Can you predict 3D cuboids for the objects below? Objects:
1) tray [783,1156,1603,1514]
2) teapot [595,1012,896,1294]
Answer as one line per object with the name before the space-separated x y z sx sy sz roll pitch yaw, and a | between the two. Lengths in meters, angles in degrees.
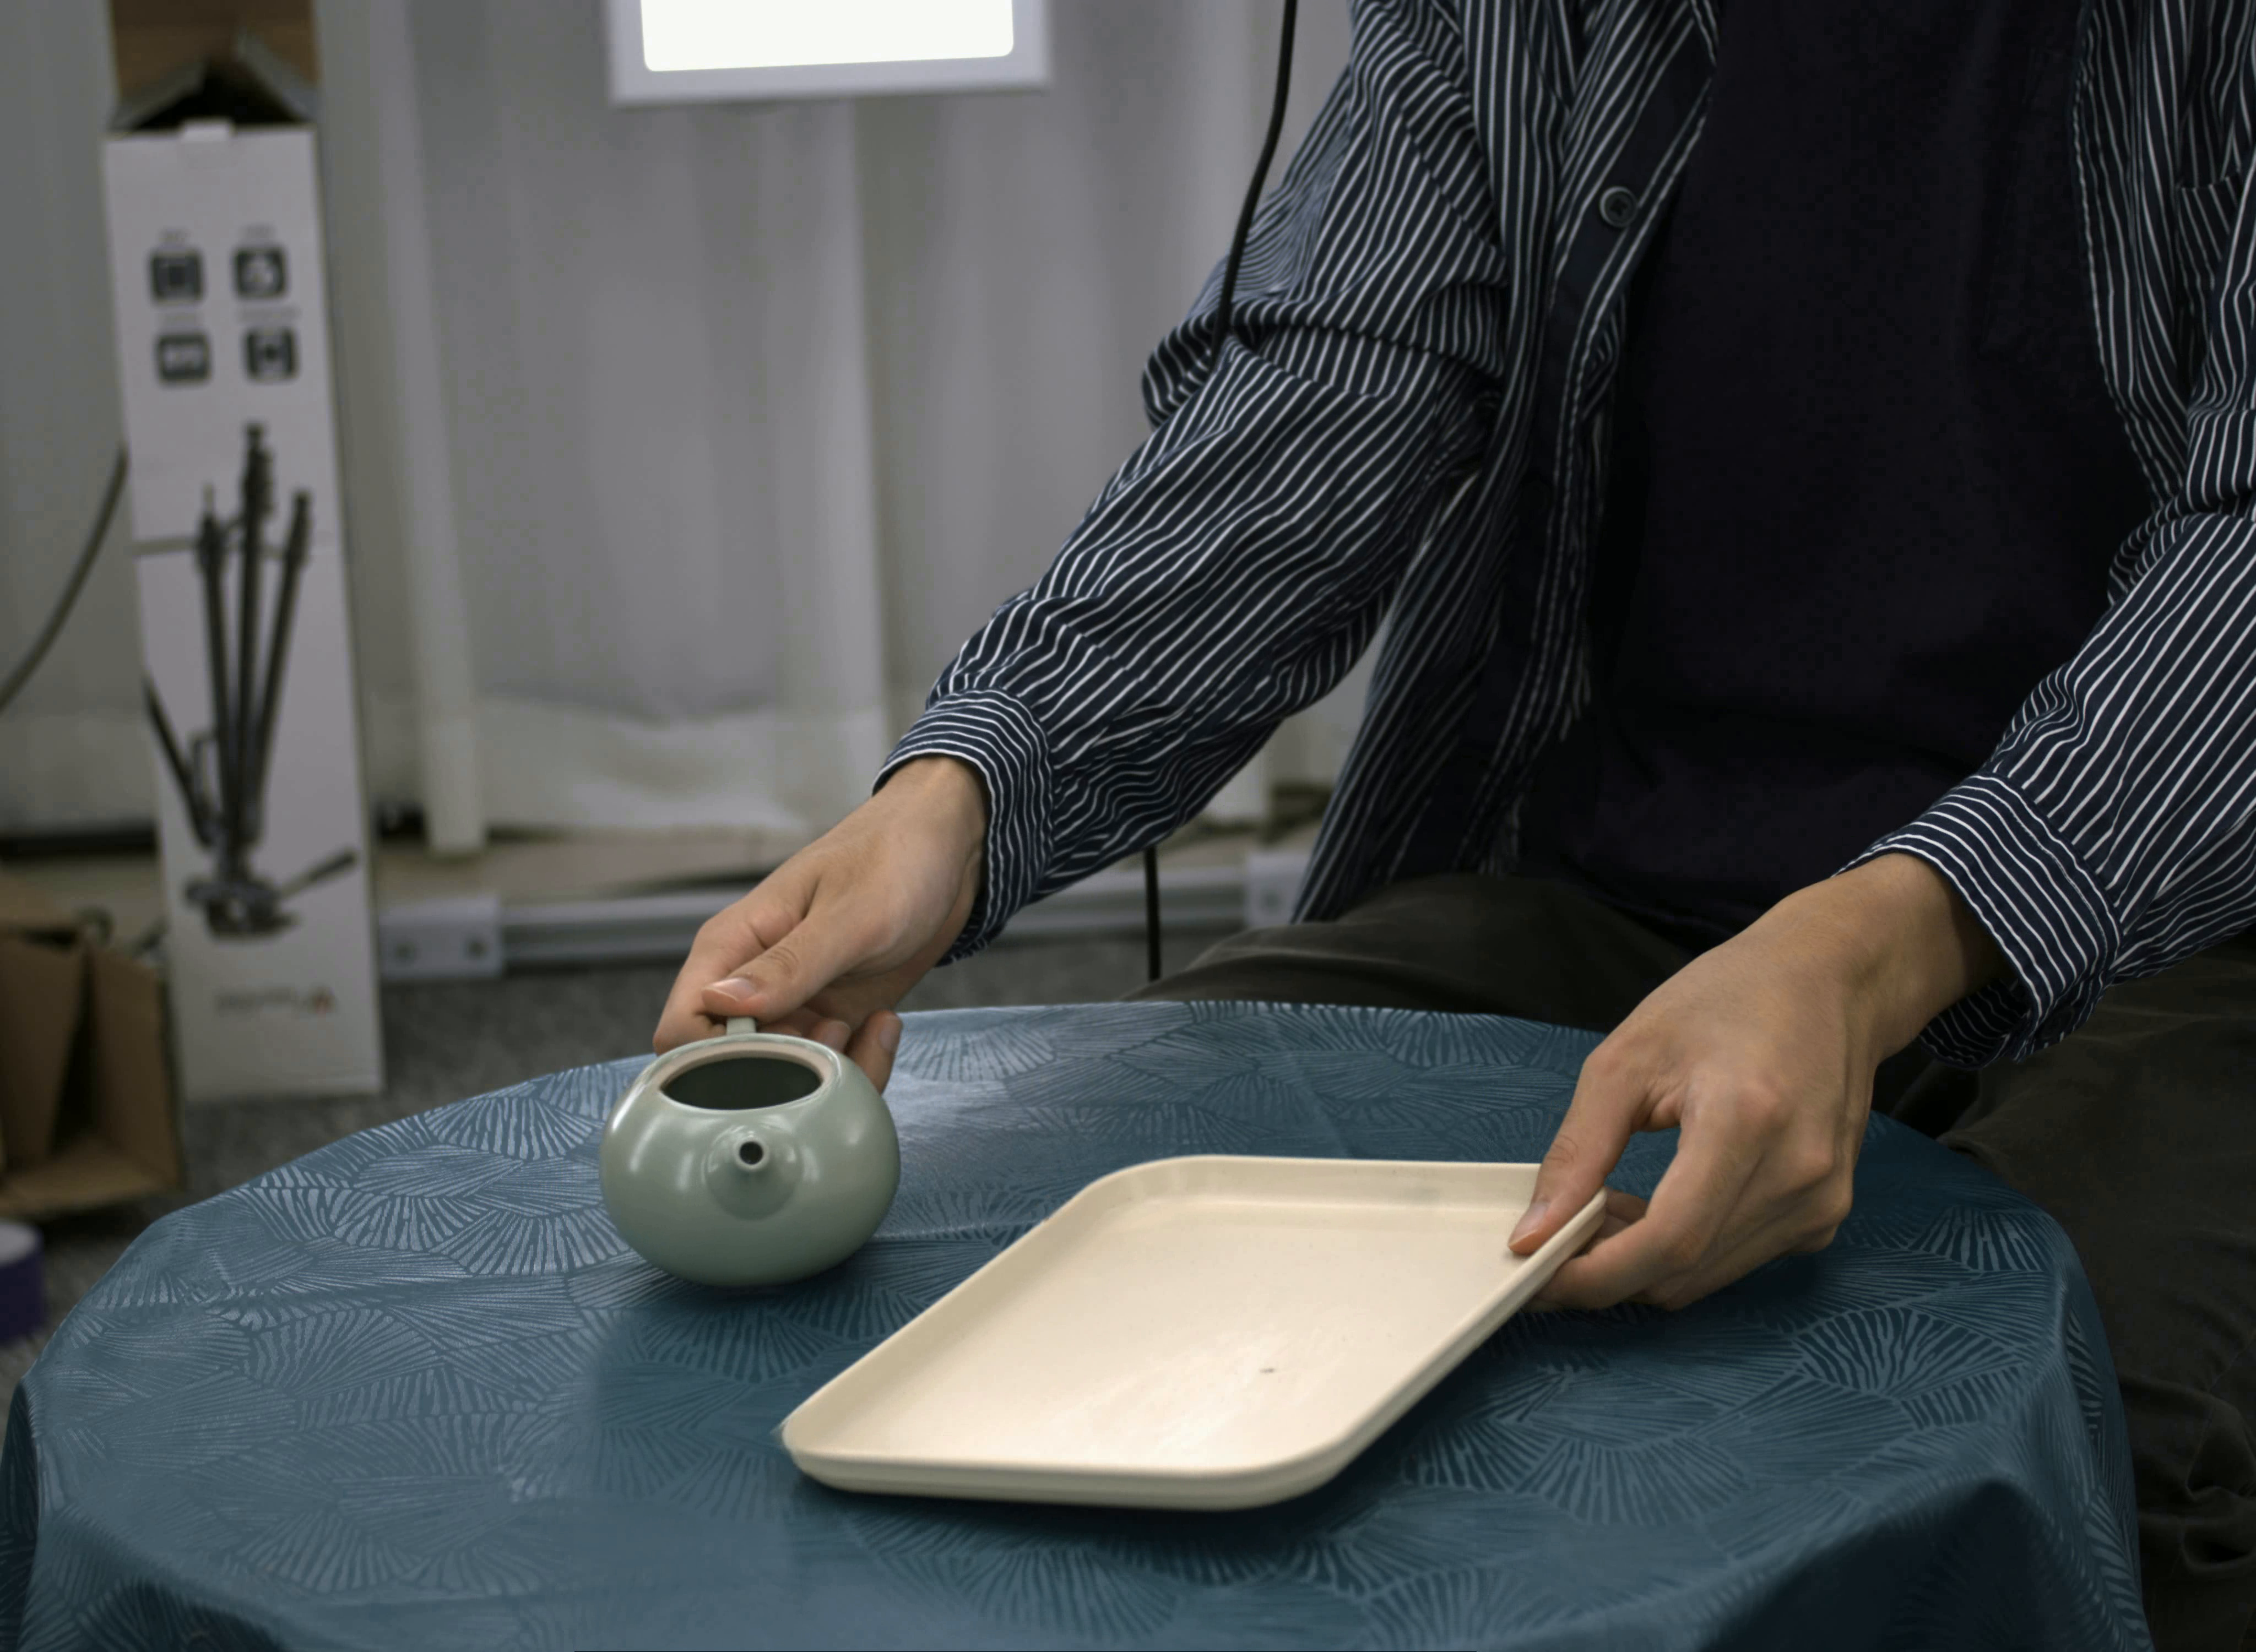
tray | 0.023 0.142 1.542 0.171 0.017 0.240 0 16 28
teapot | -0.116 0.100 1.667 0.091 0.060 0.130 -4 21 0
